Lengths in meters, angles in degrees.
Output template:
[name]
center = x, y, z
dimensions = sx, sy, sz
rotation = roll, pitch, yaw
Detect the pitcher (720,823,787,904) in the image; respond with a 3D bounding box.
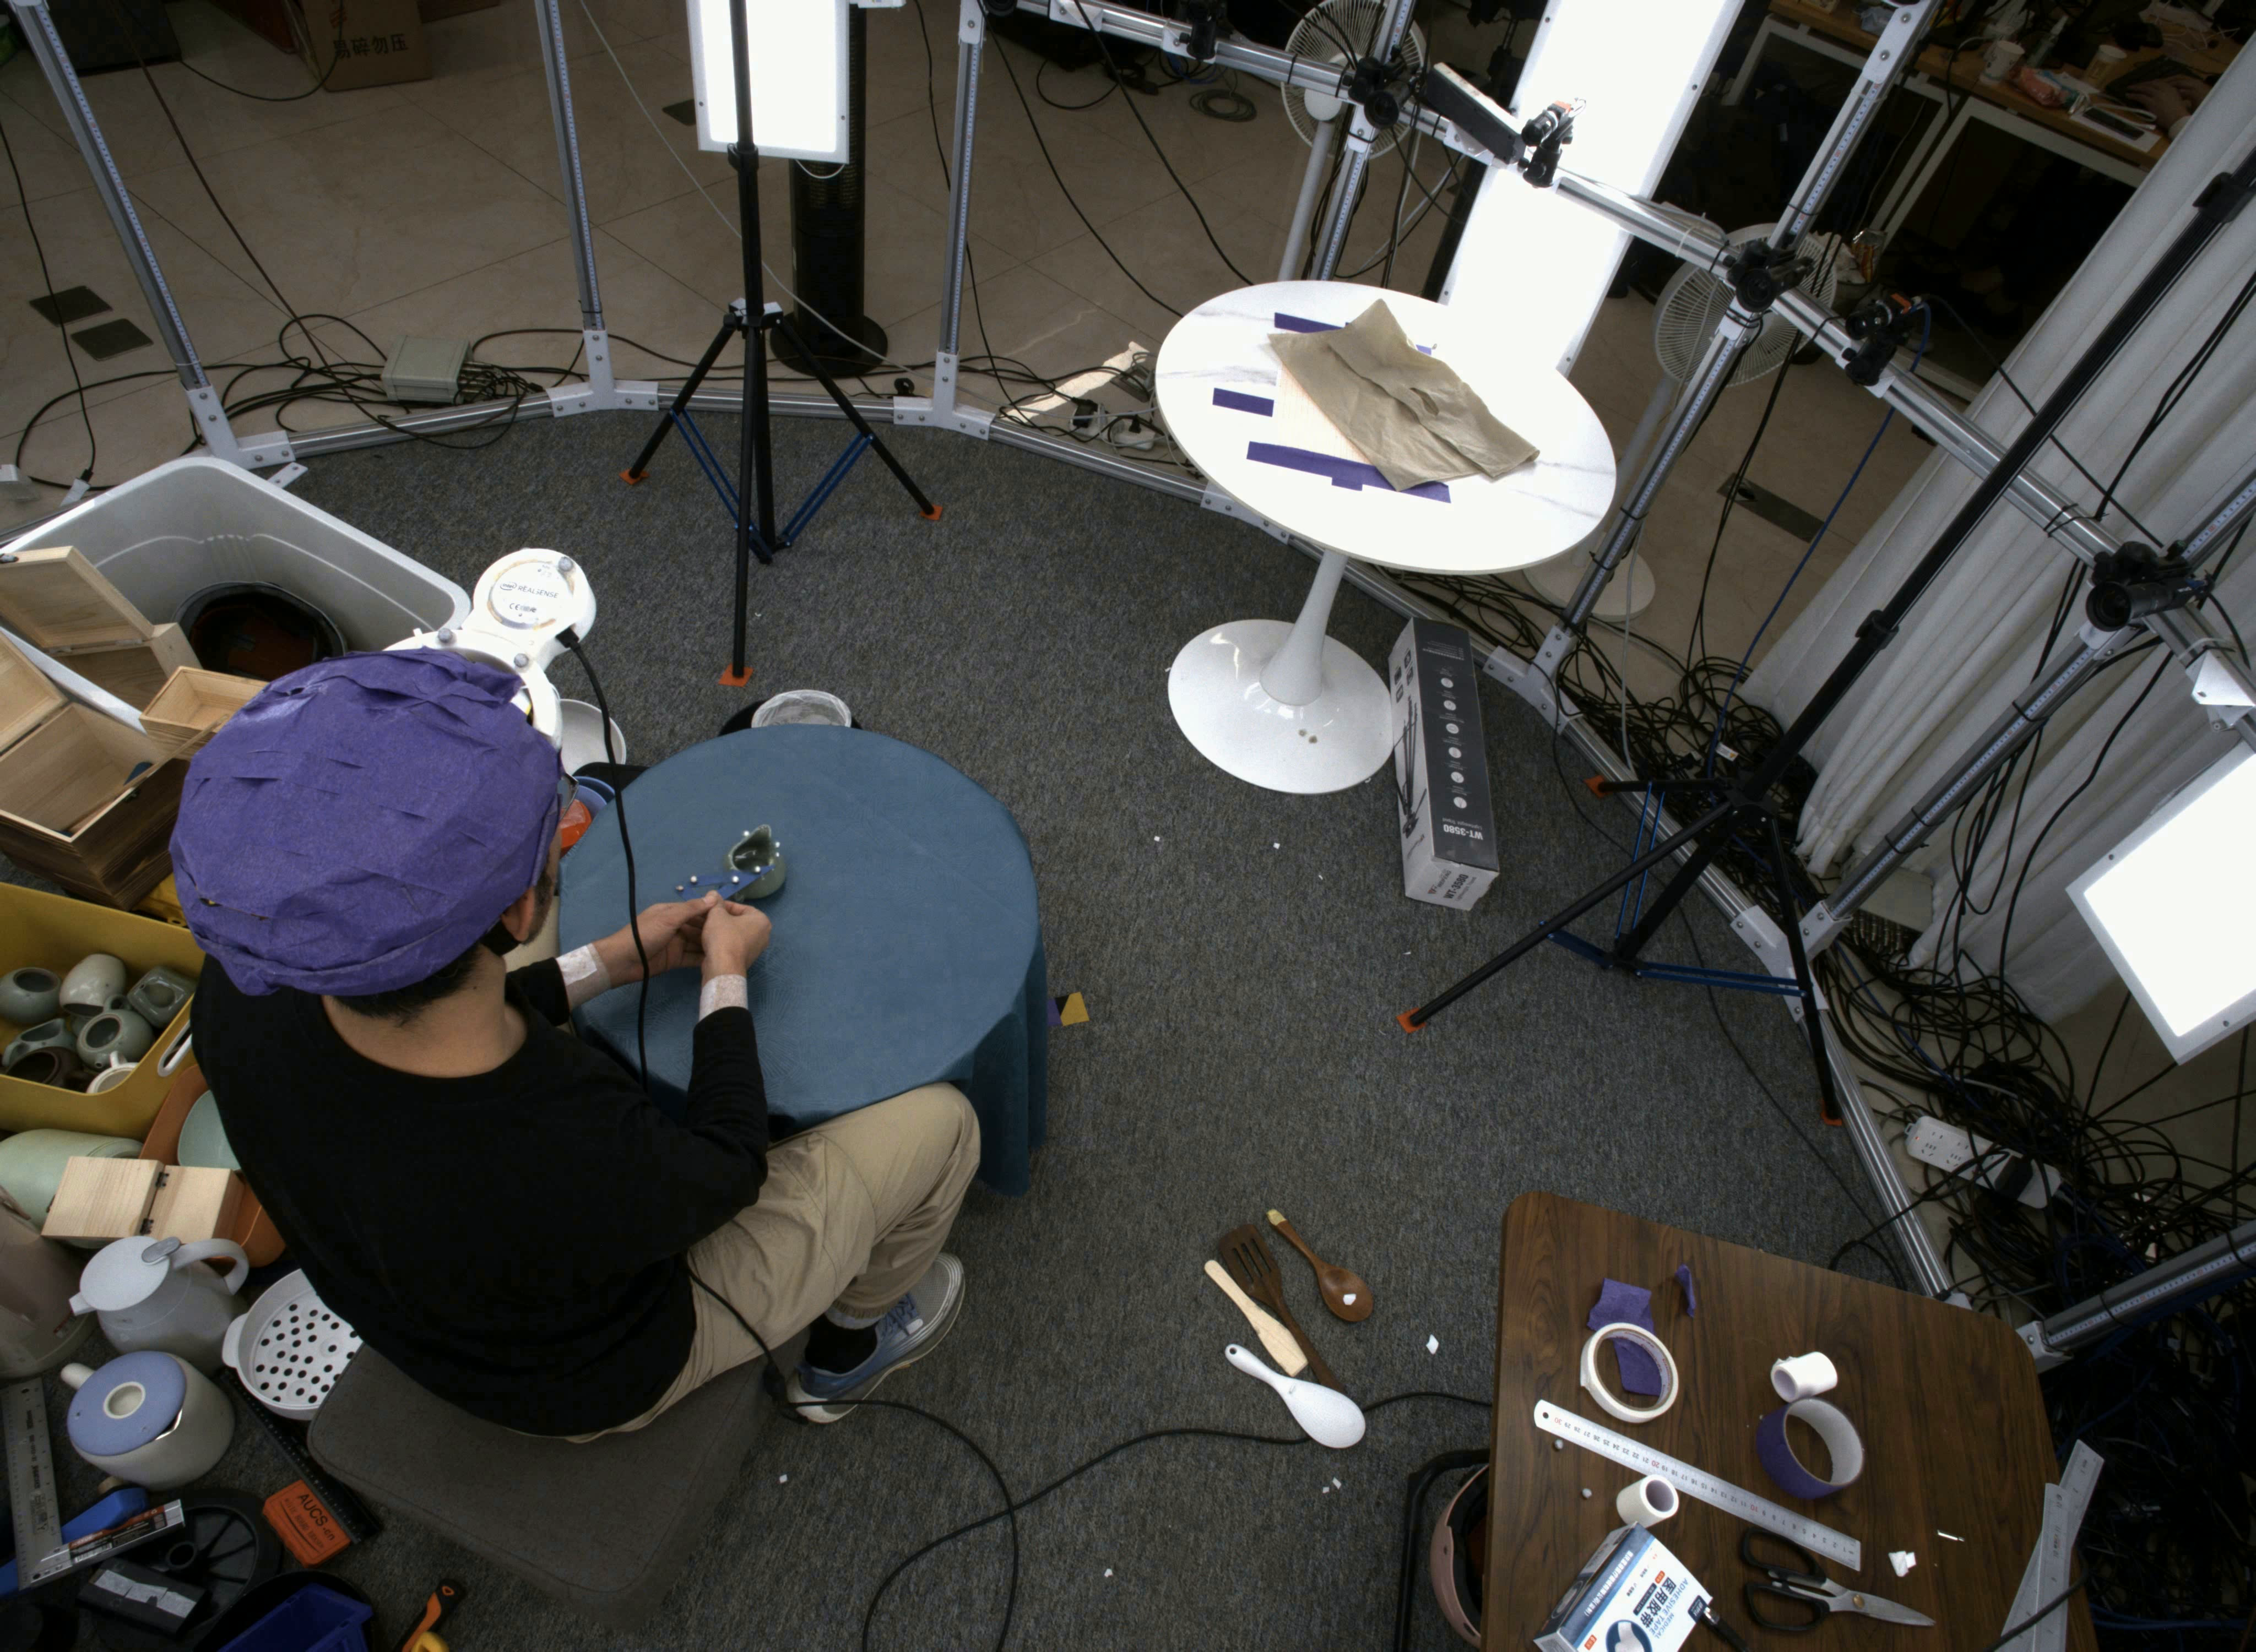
[pitcher]
center = -0.476, 0.054, 1.629
dimensions = 0.083, 0.057, 0.111
rotation = 14, 51, 0

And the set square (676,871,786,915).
[set square]
center = -0.477, 0.078, 1.567
dimensions = 0.133, 0.007, 0.059
rotation = -6, 48, -27
